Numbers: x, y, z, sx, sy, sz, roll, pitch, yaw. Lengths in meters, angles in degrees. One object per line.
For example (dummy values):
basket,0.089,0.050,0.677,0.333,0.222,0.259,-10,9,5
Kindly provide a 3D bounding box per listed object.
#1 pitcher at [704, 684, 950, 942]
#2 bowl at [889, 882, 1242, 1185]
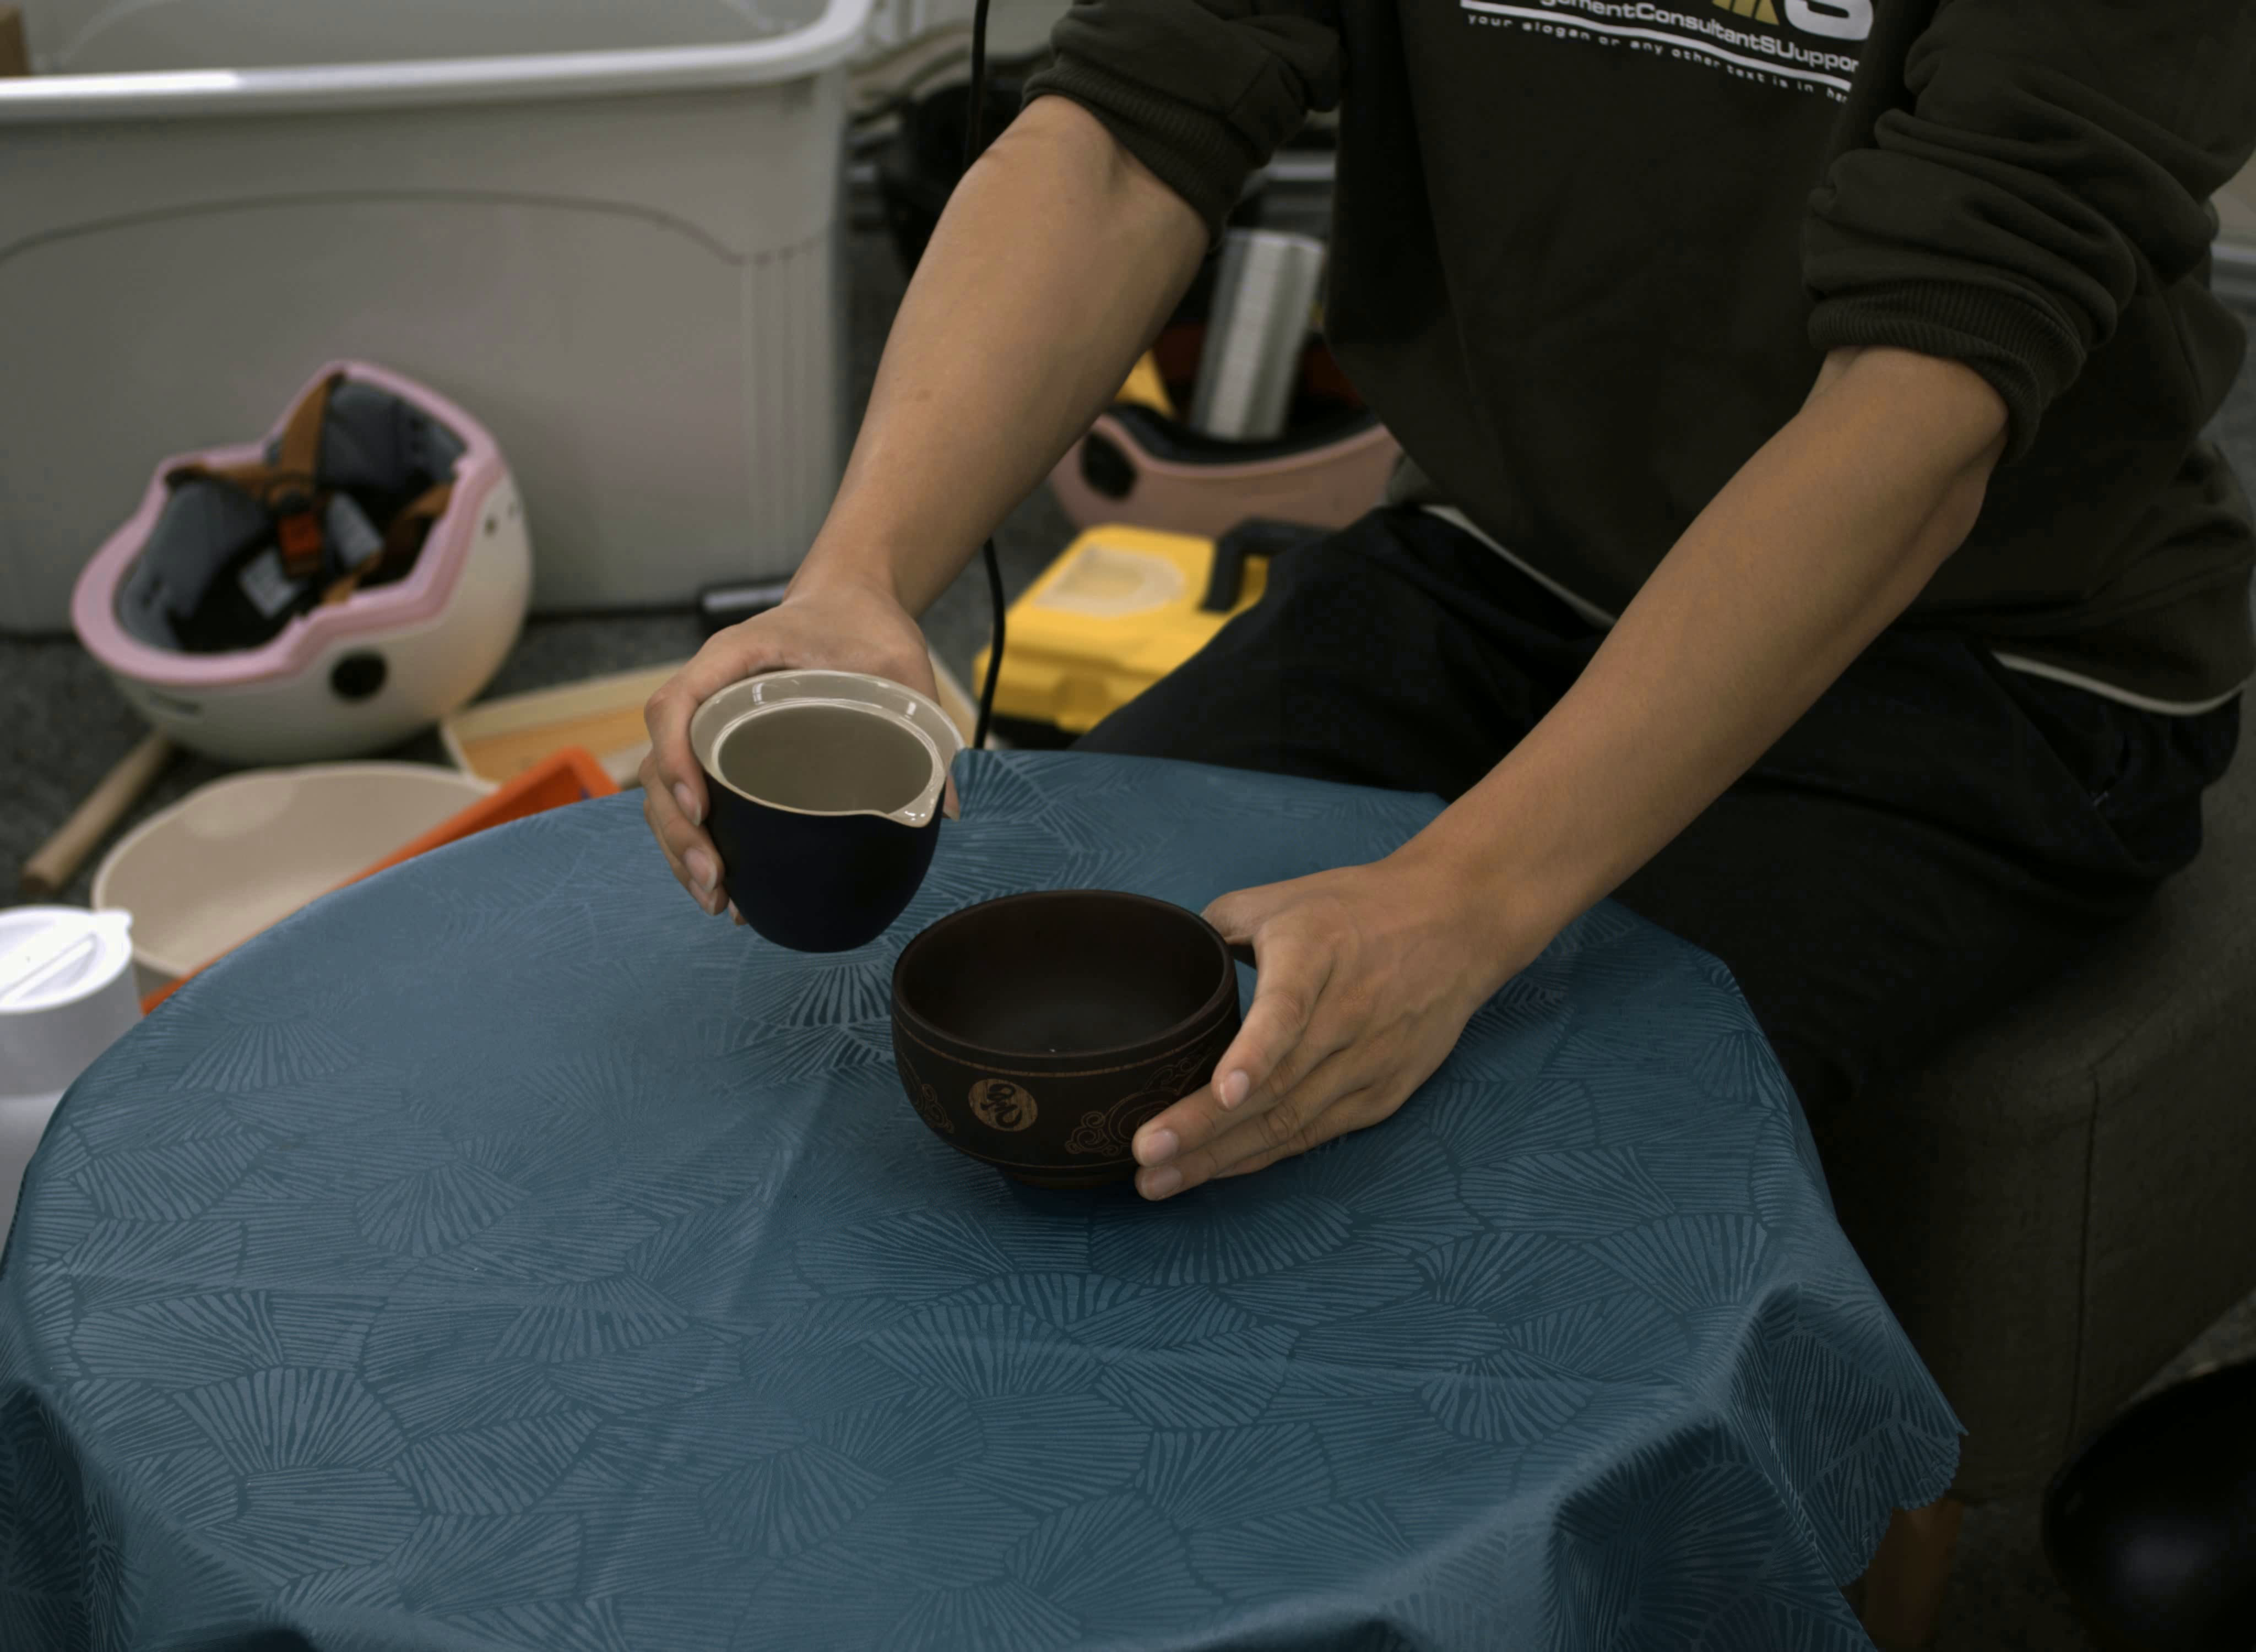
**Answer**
pitcher,-0.101,-0.001,1.915,0.084,0.070,0.096,-13,36,-30
bowl,-0.020,0.076,1.877,0.117,0.069,0.120,-3,28,2
